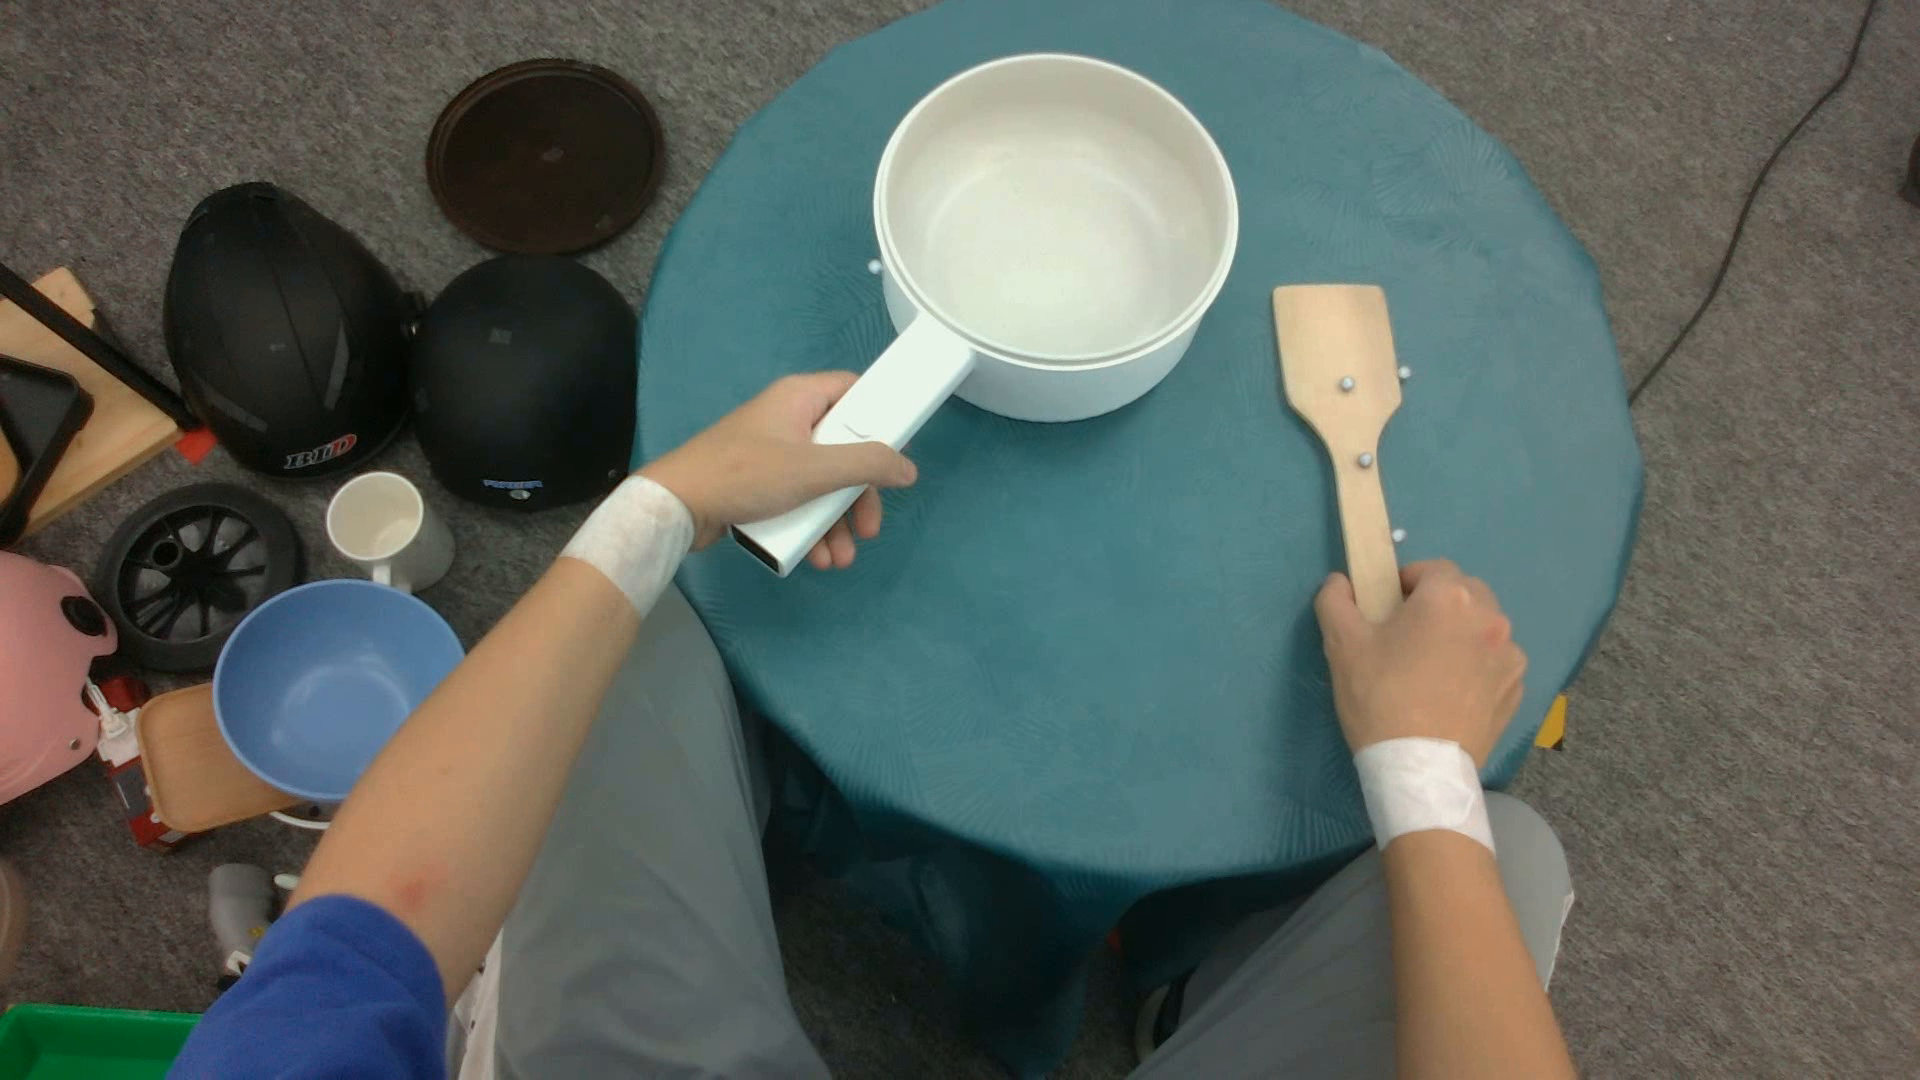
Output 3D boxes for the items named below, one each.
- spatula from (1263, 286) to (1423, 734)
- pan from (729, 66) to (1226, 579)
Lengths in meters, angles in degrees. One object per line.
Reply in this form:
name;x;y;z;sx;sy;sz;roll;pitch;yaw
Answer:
spatula;0.232;-0.027;0.803;0.072;0.010;0.294;-1;63;-3
pan;0.002;-0.111;0.790;0.201;0.102;0.356;36;71;9
